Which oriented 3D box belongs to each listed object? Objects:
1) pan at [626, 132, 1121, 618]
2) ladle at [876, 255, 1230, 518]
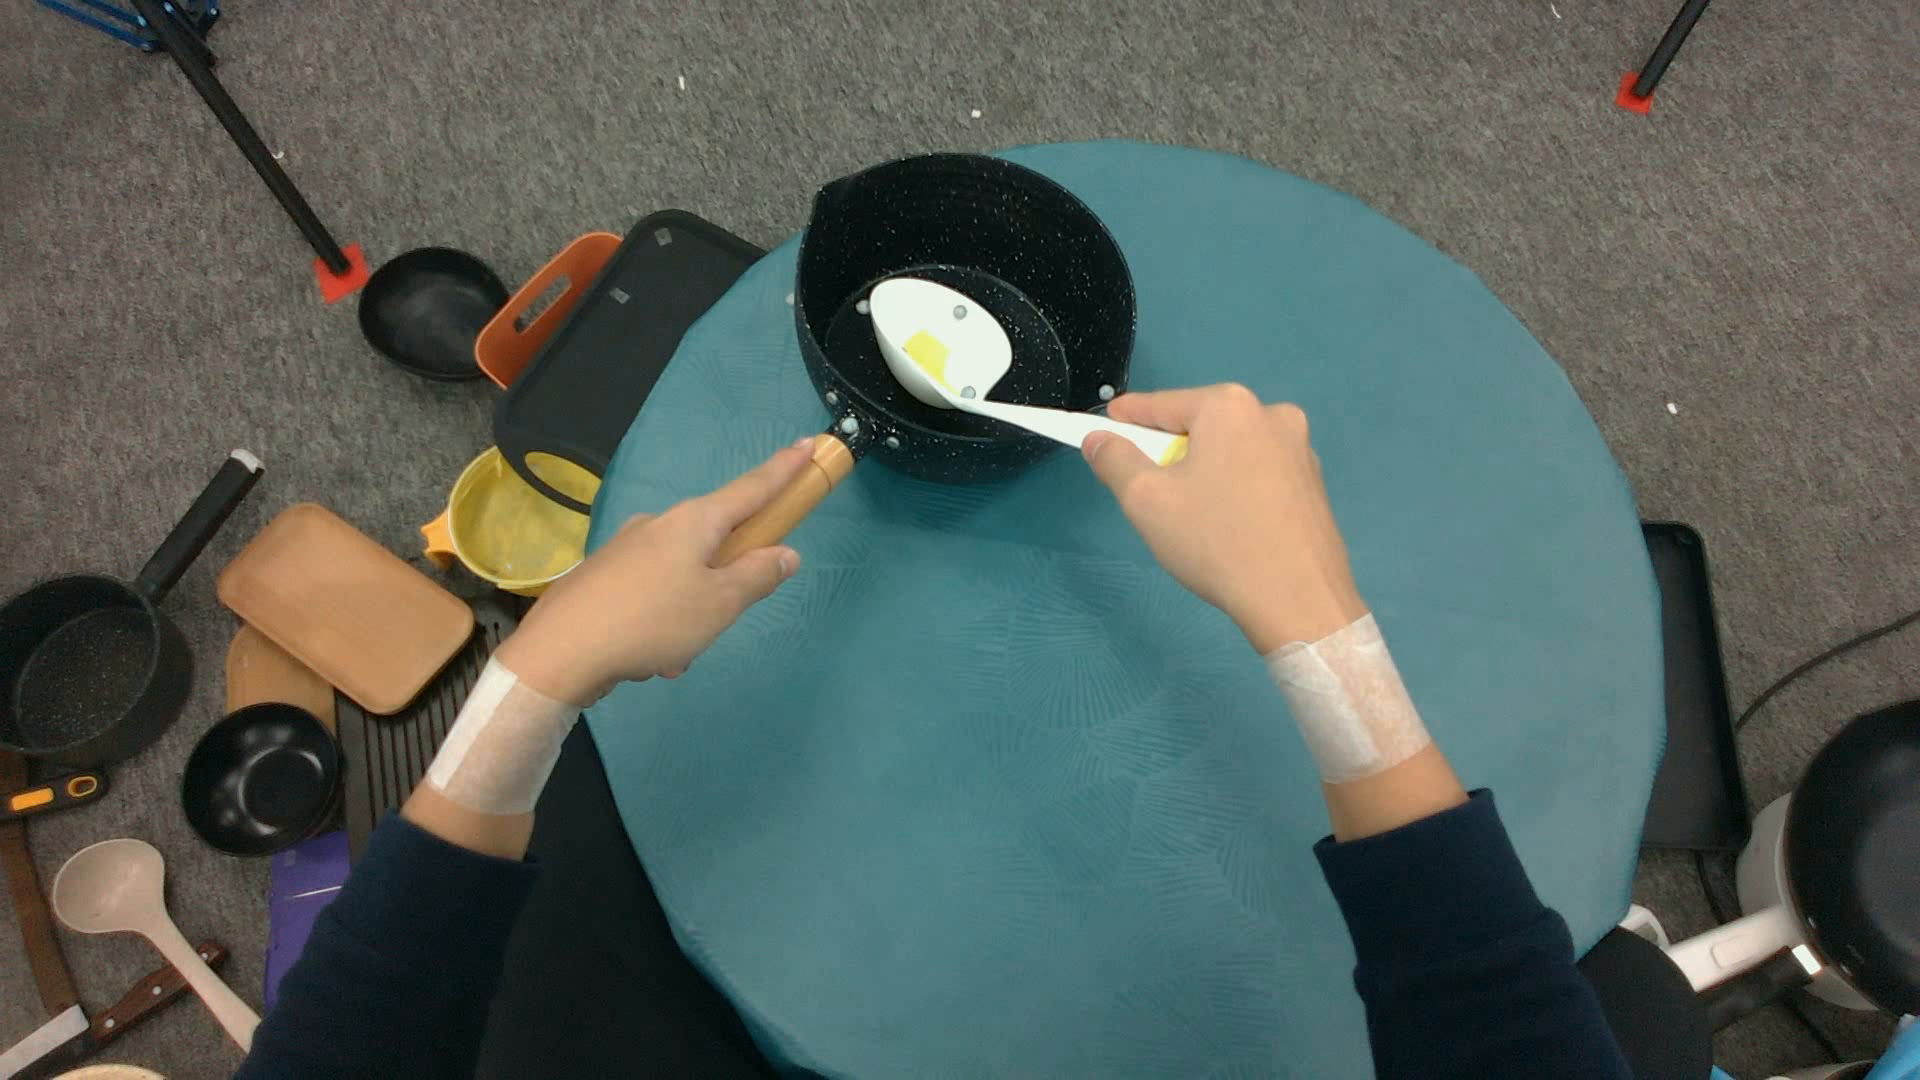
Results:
[{"bbox_3d":[-0.052,-0.072,0.719,0.207,0.108,0.344,34,62,5],"label":"pan"},{"bbox_3d":[0.039,-0.084,0.683,0.090,0.293,0.070,20,97,-32],"label":"ladle"}]
